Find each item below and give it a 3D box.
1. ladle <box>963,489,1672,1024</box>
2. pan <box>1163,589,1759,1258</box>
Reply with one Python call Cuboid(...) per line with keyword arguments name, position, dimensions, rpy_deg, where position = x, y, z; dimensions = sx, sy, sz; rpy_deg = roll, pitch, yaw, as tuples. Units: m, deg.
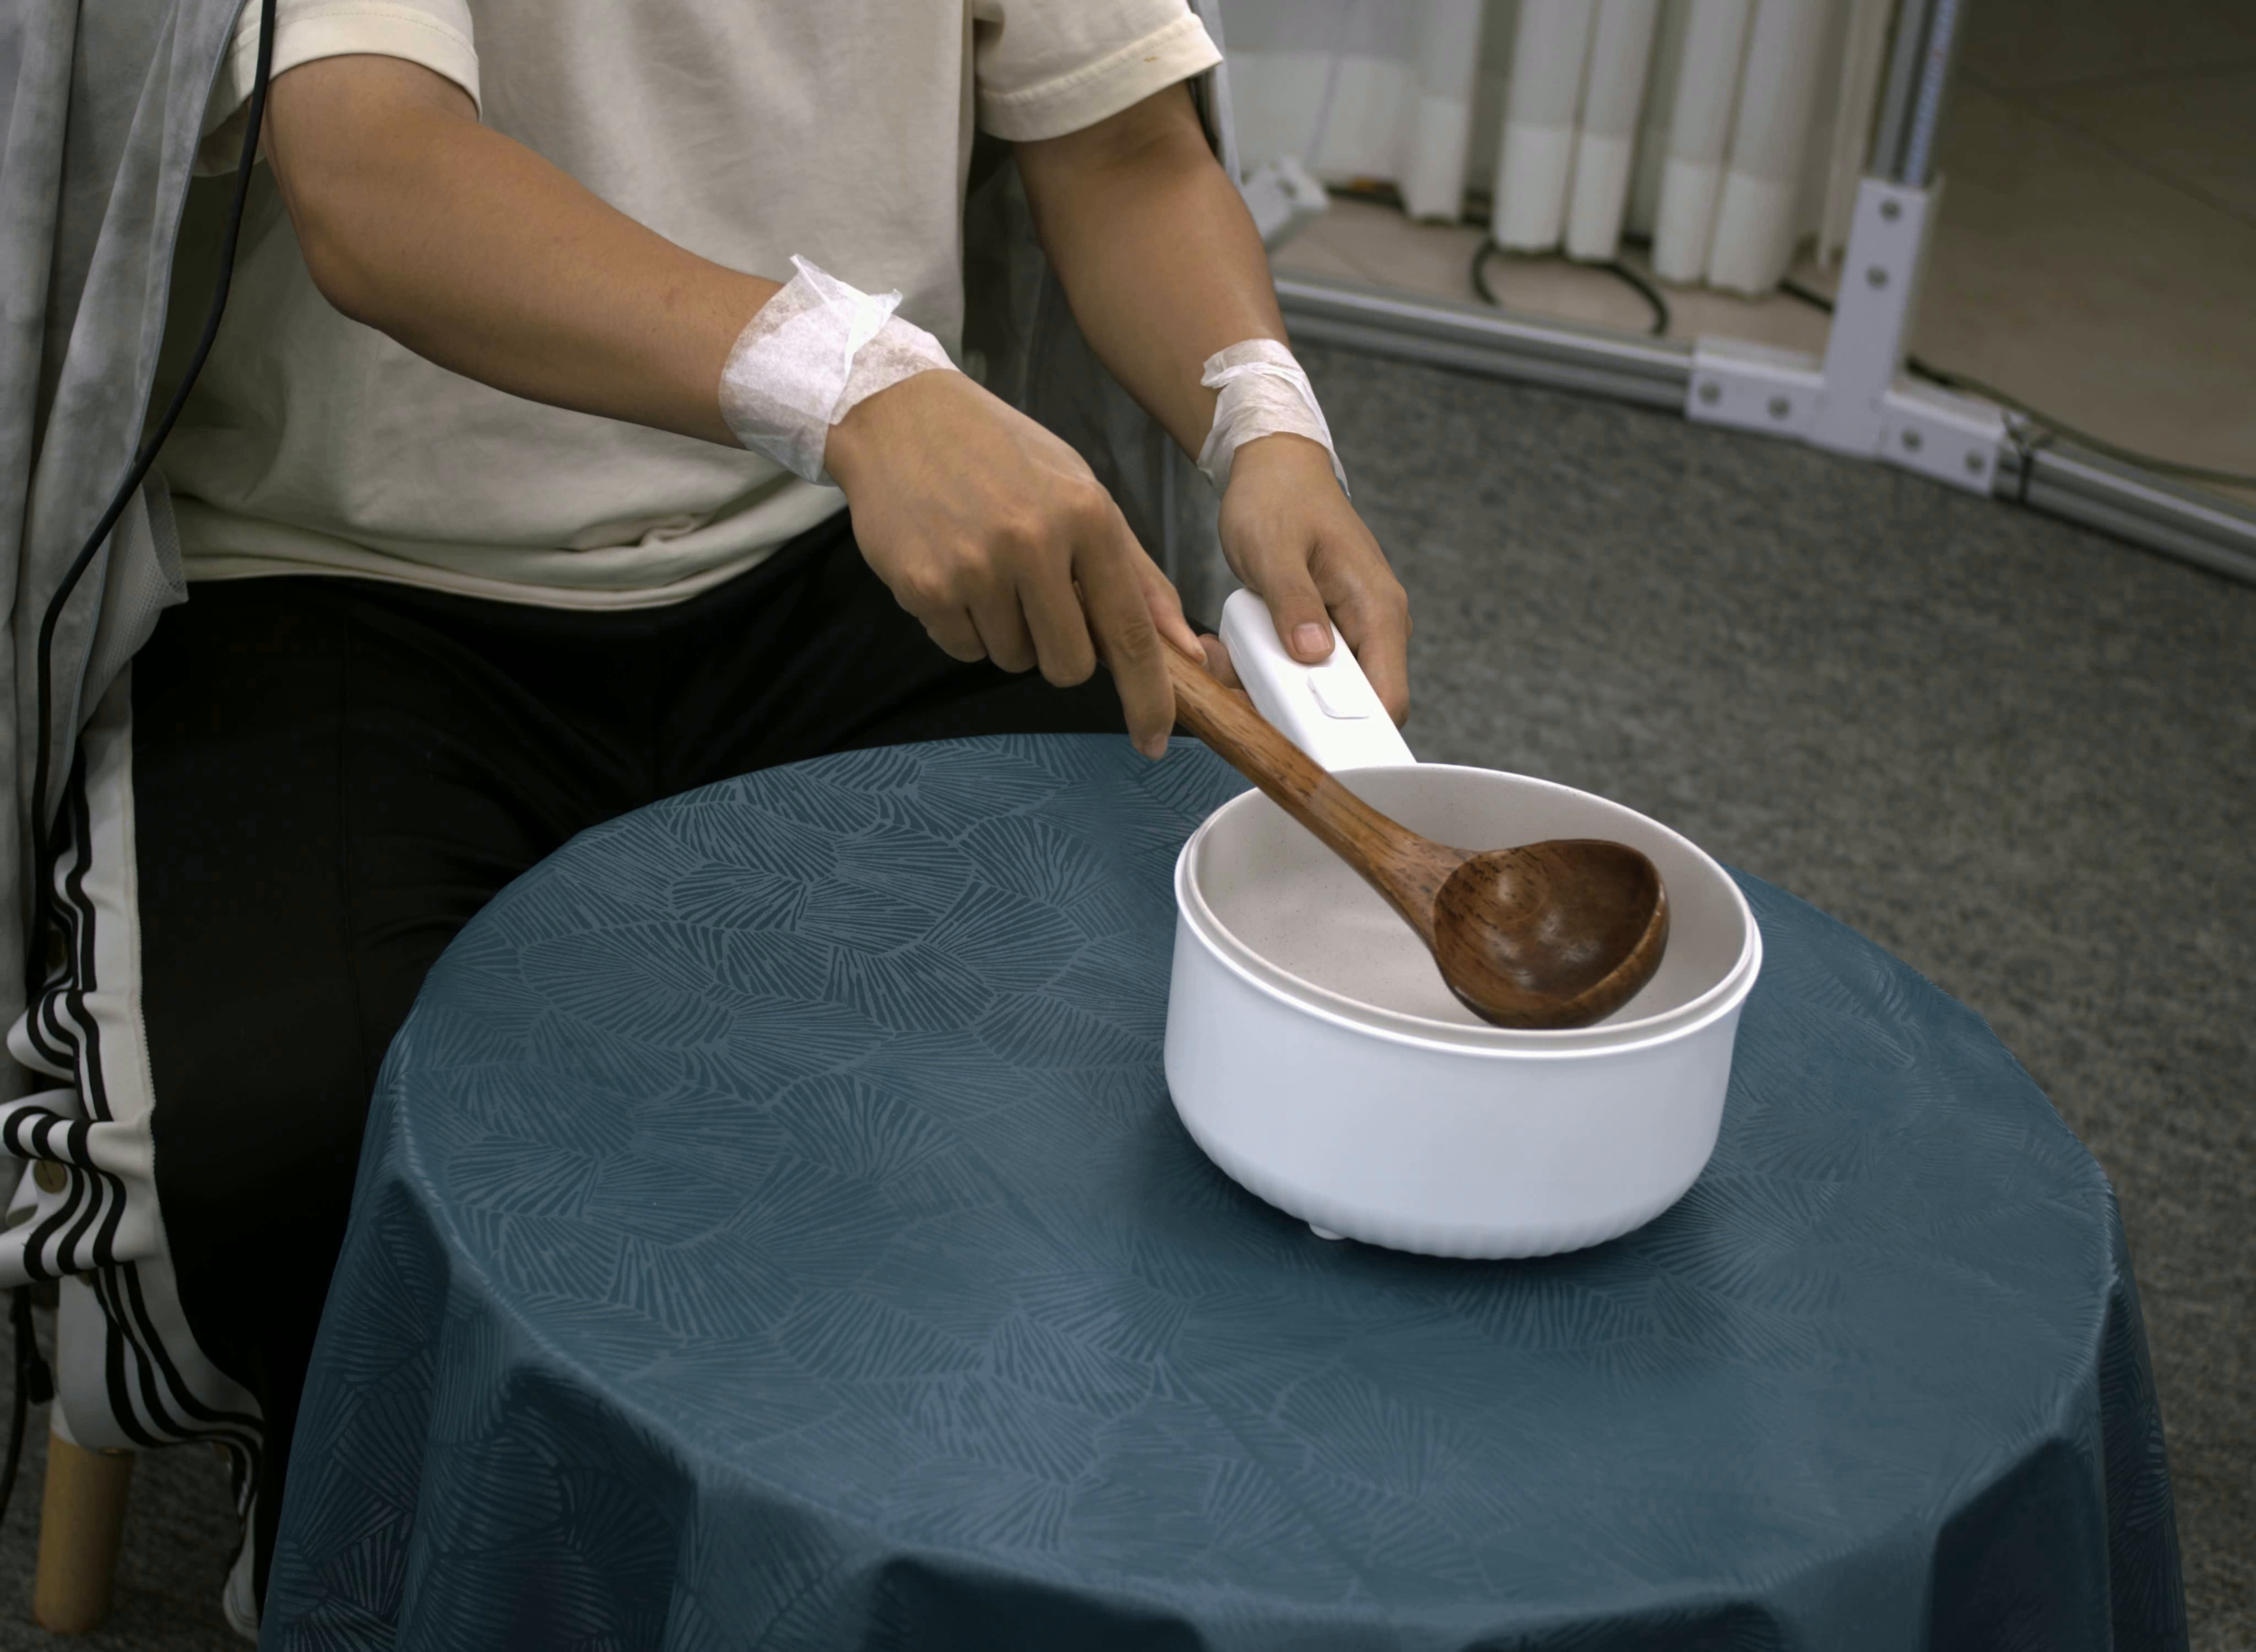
Cuboid(name="ladle", position=(0.064, -0.029, 1.786), dimensions=(0.273, 0.076, 0.082), rpy_deg=(41, 54, -6))
Cuboid(name="pan", position=(0.093, 0.032, 1.897), dimensions=(0.200, 0.102, 0.358), rpy_deg=(-1, 27, -14))
